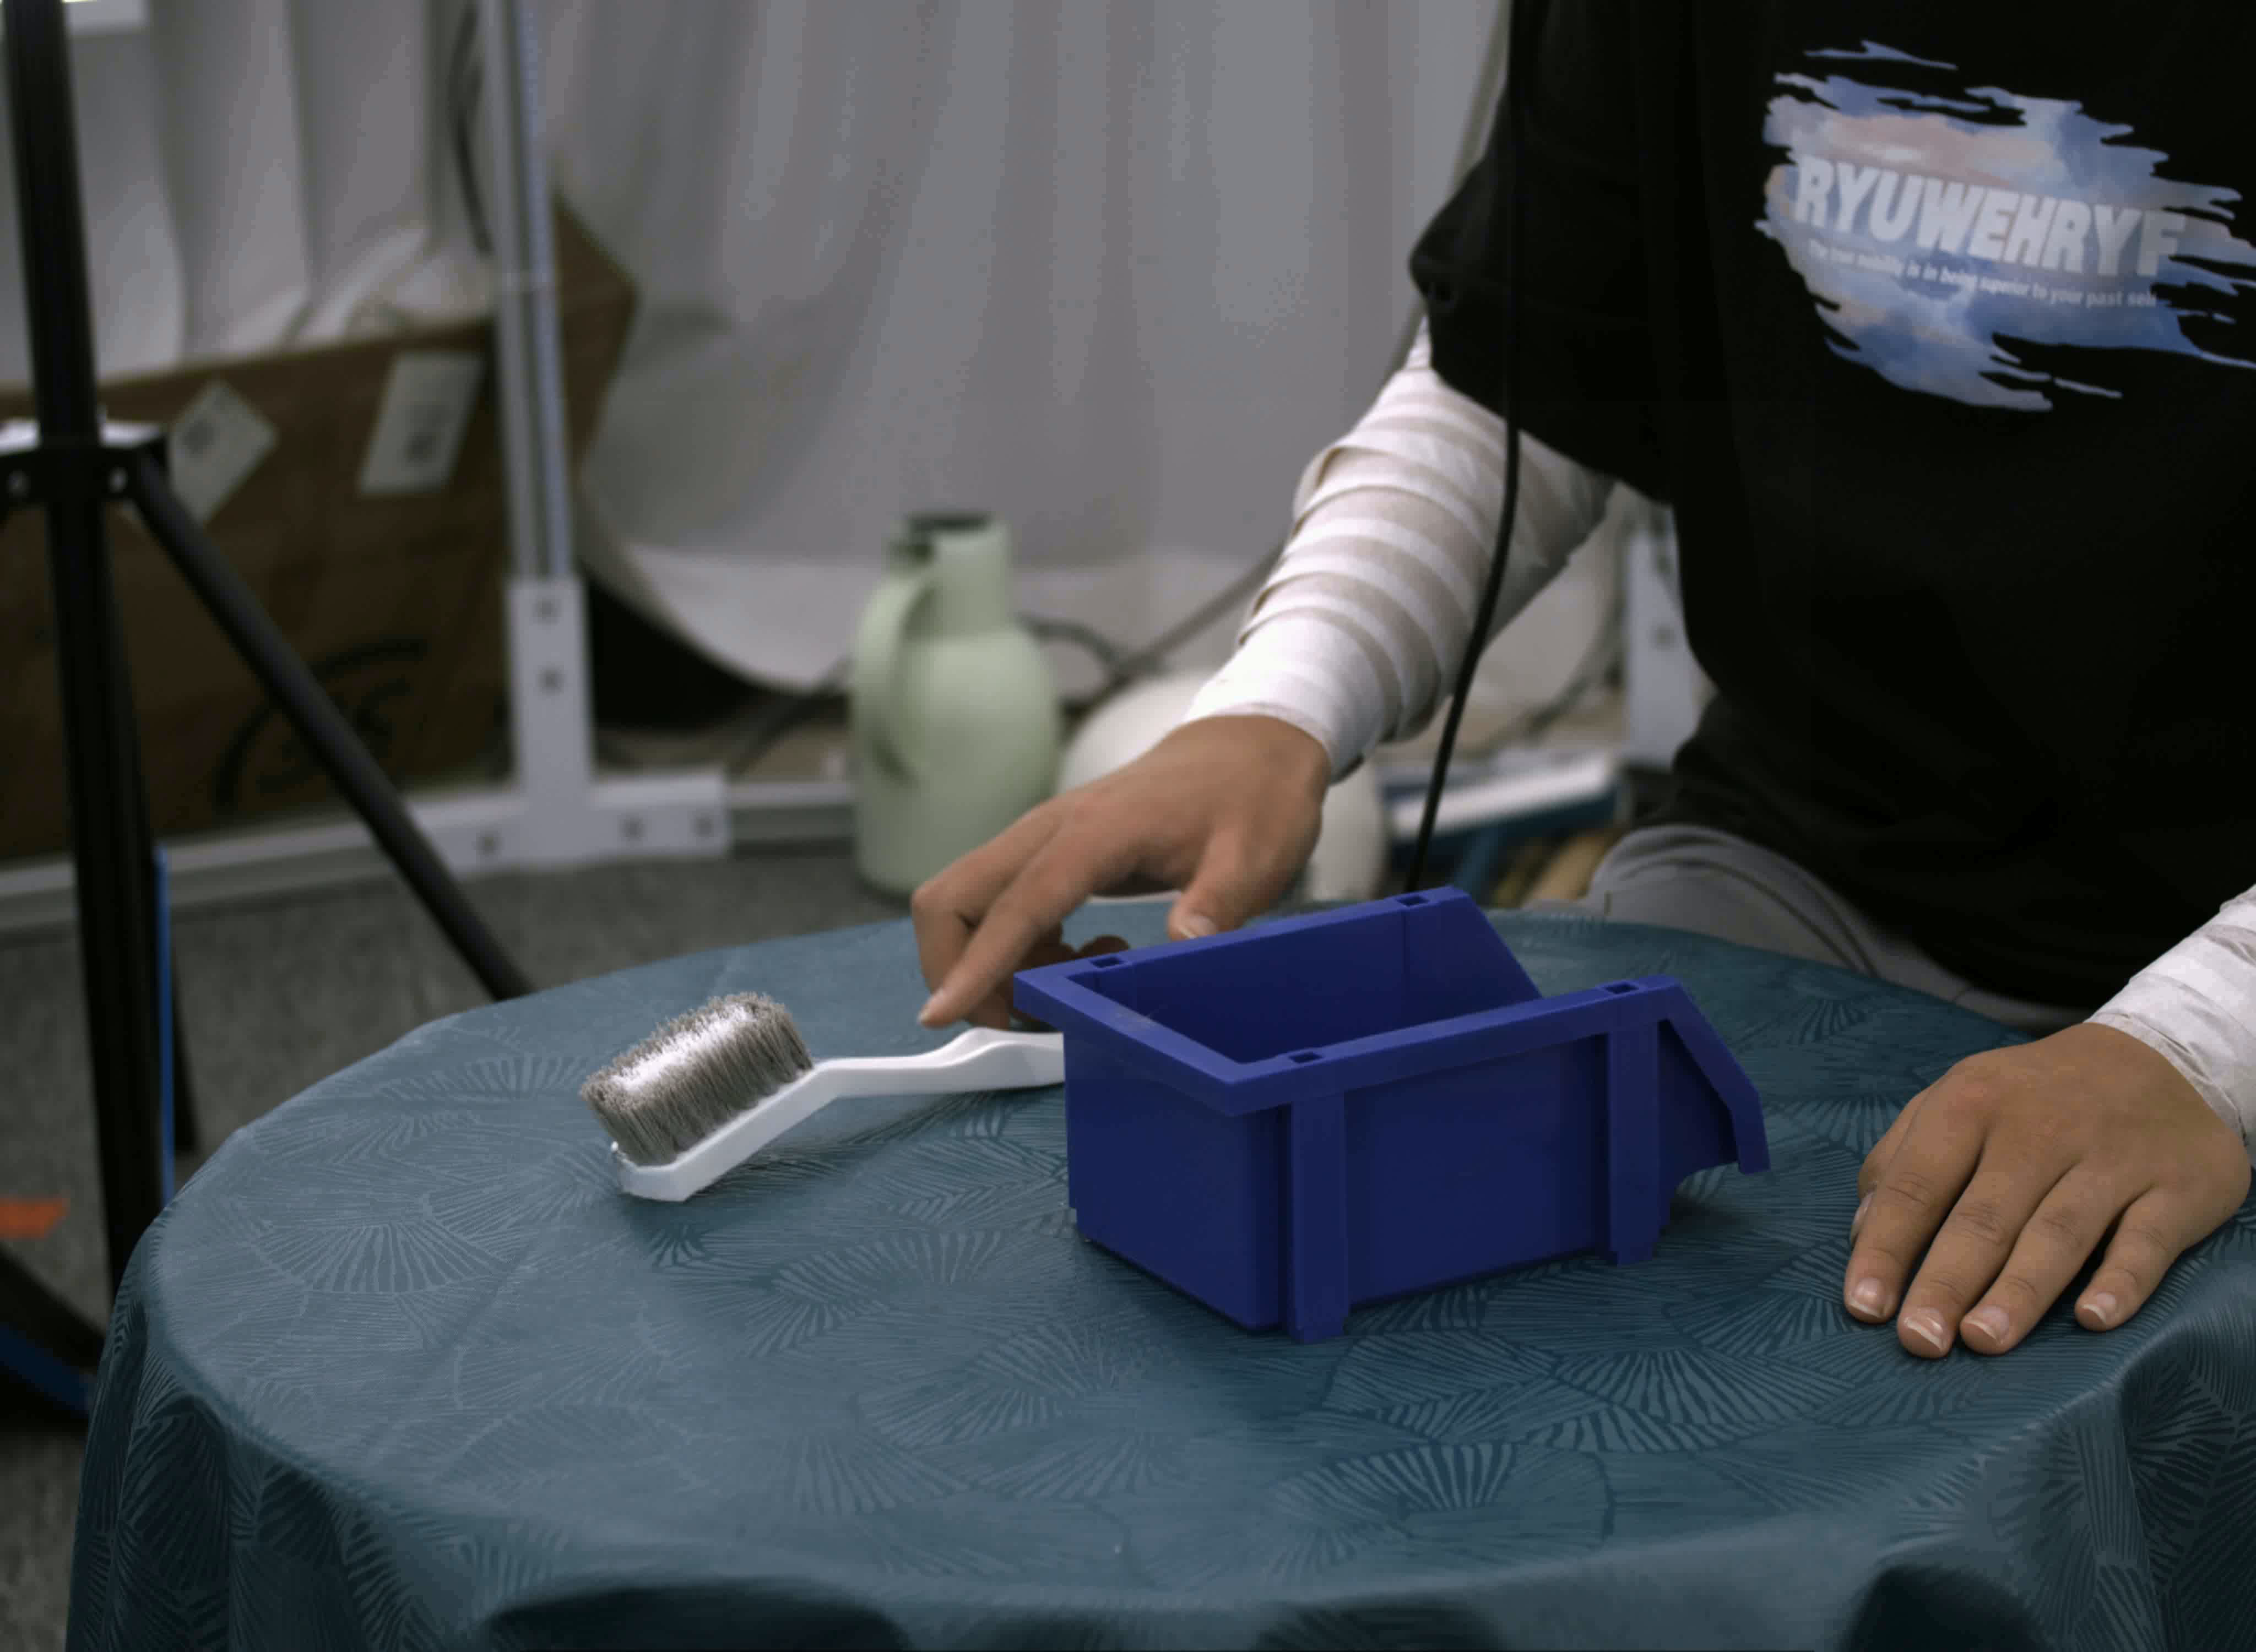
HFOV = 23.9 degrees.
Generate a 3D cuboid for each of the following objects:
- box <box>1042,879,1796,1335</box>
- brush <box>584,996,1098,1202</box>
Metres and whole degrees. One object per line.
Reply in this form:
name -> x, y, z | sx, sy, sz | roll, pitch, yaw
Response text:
box -> 0.082, 0.076, 1.512 | 0.176, 0.082, 0.127 | -11, 18, -25
brush -> -0.059, 0.064, 1.633 | 0.238, 0.050, 0.035 | -14, 19, -34
